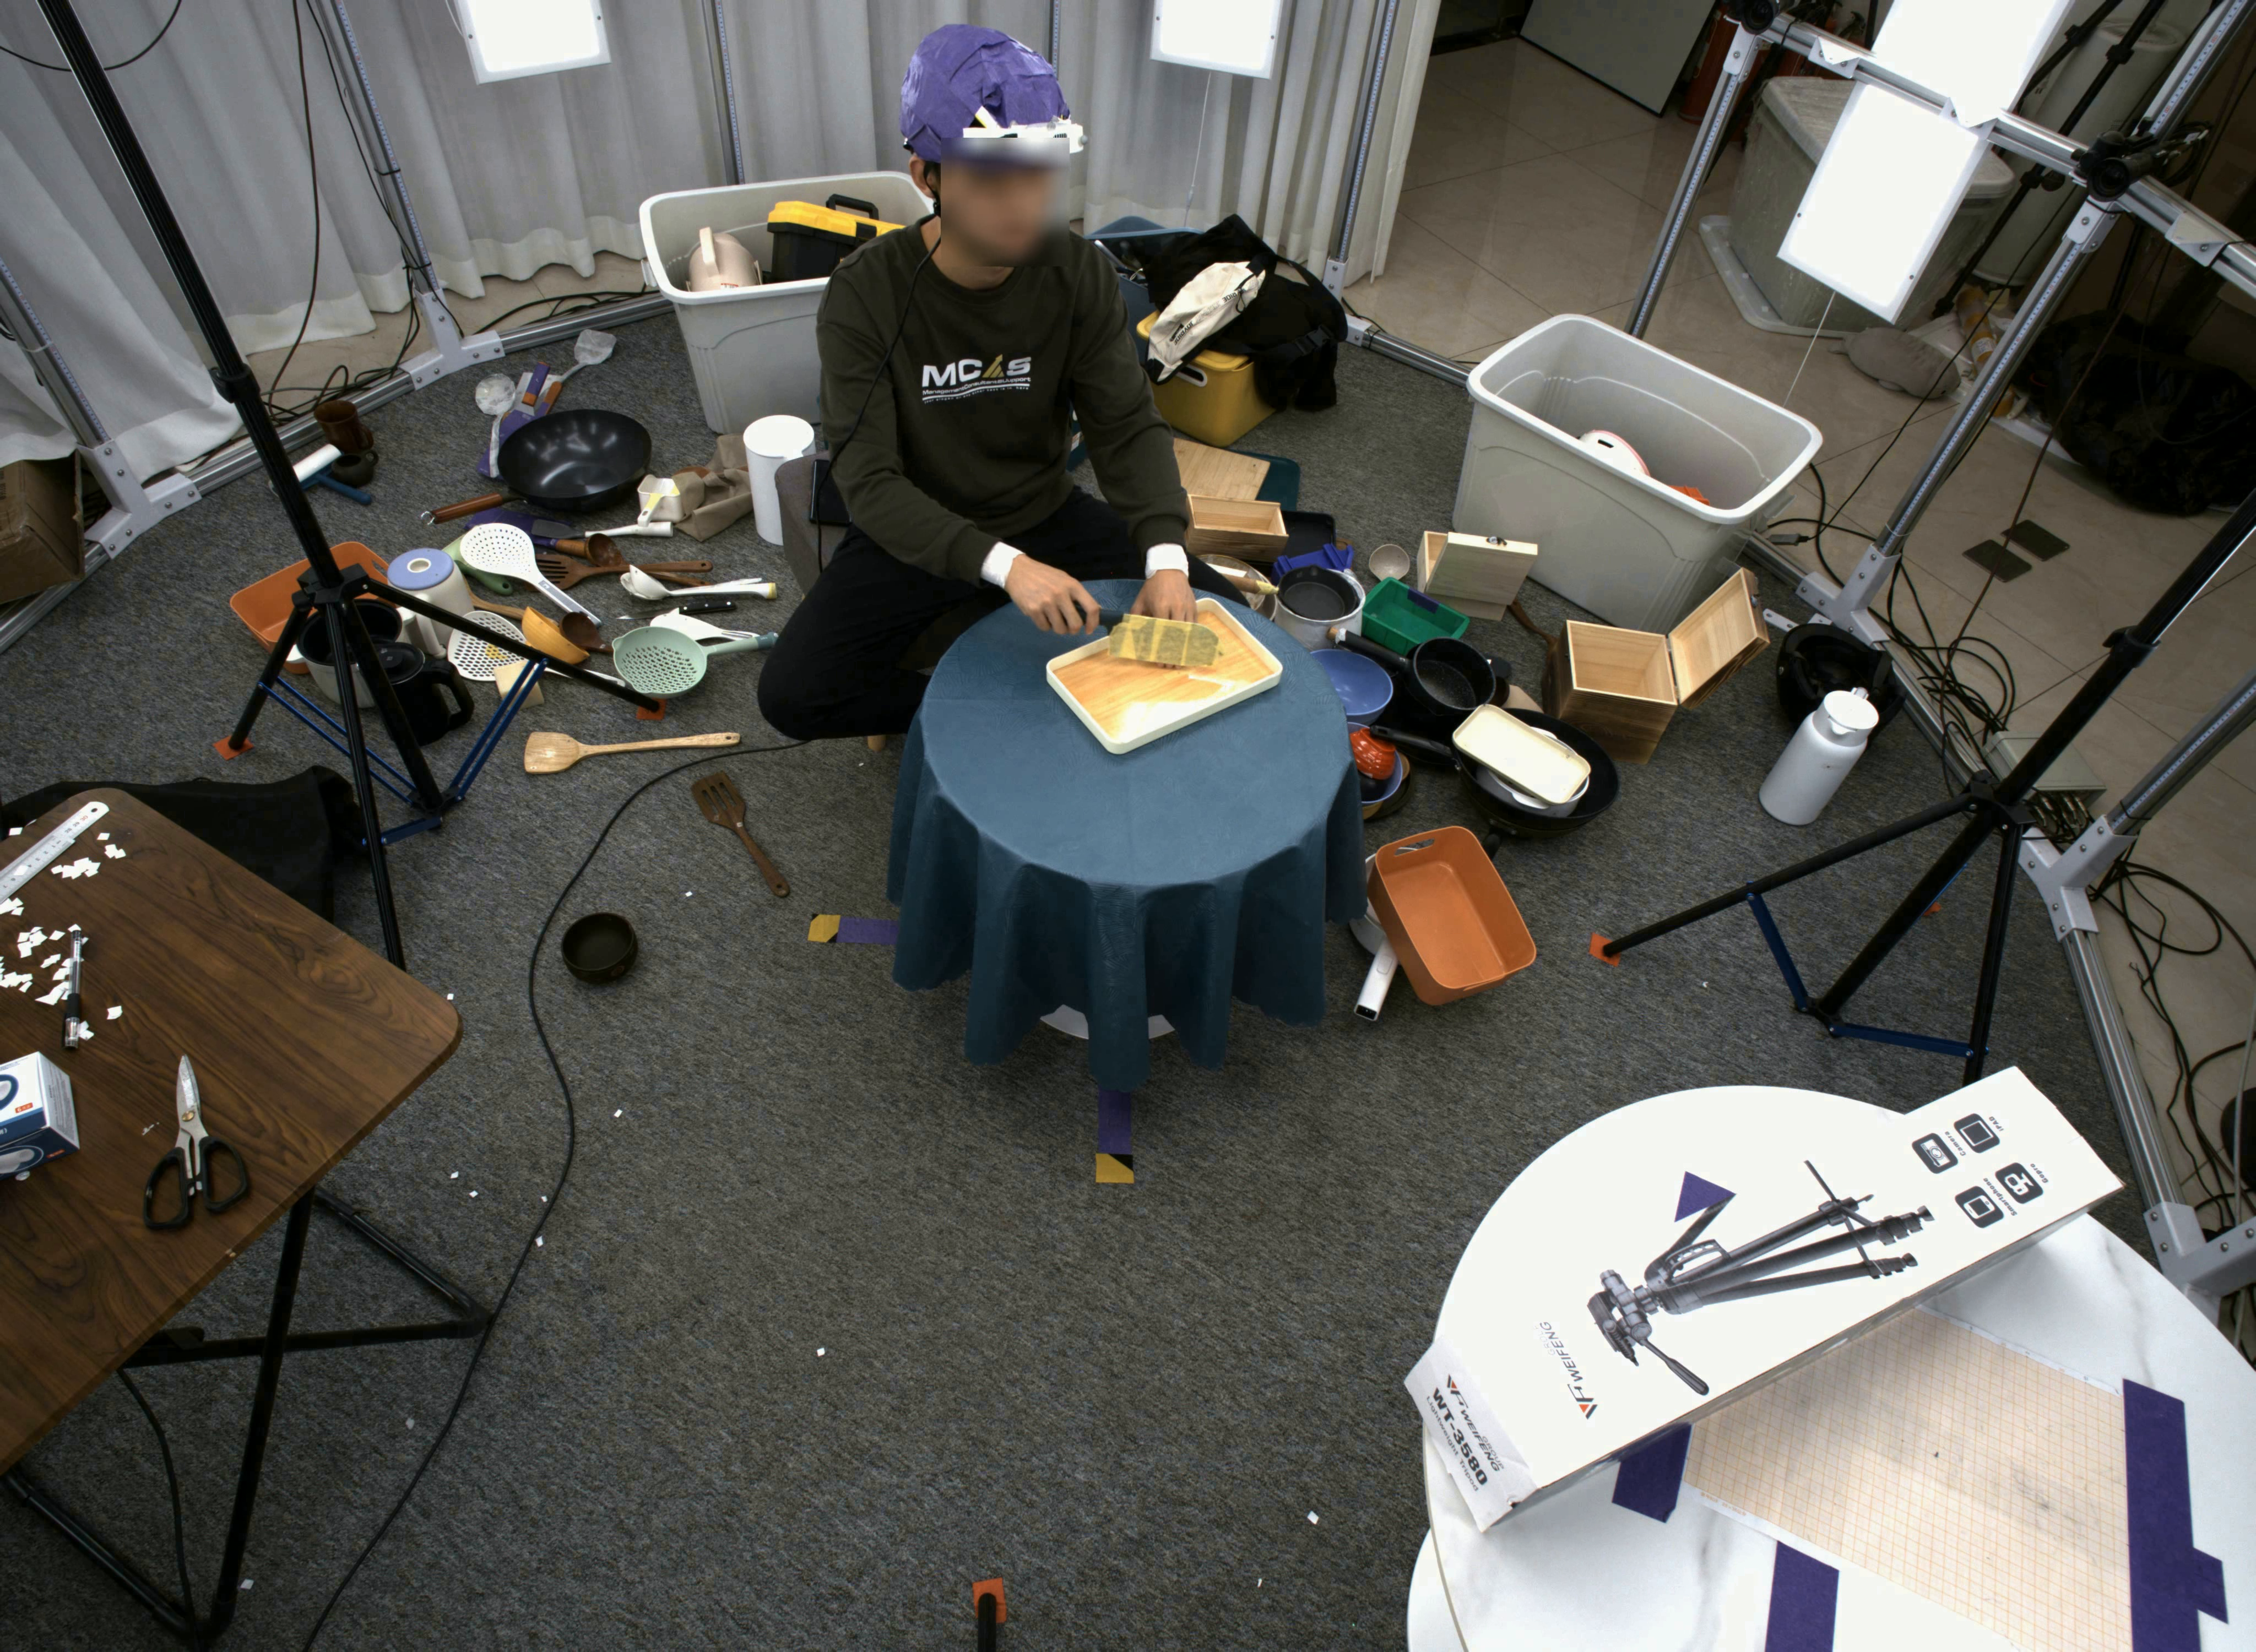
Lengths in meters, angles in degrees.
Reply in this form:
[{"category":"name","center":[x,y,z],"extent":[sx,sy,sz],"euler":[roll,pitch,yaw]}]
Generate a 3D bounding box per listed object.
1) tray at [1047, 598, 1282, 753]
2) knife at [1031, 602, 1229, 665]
[{"category":"tray","center":[0.053,-0.222,1.846],"extent":[0.301,0.027,0.195],"euler":[-25,54,-23]},{"category":"knife","center":[0.003,-0.273,1.825],"extent":[0.289,0.079,0.028],"euler":[11,37,-2]}]
